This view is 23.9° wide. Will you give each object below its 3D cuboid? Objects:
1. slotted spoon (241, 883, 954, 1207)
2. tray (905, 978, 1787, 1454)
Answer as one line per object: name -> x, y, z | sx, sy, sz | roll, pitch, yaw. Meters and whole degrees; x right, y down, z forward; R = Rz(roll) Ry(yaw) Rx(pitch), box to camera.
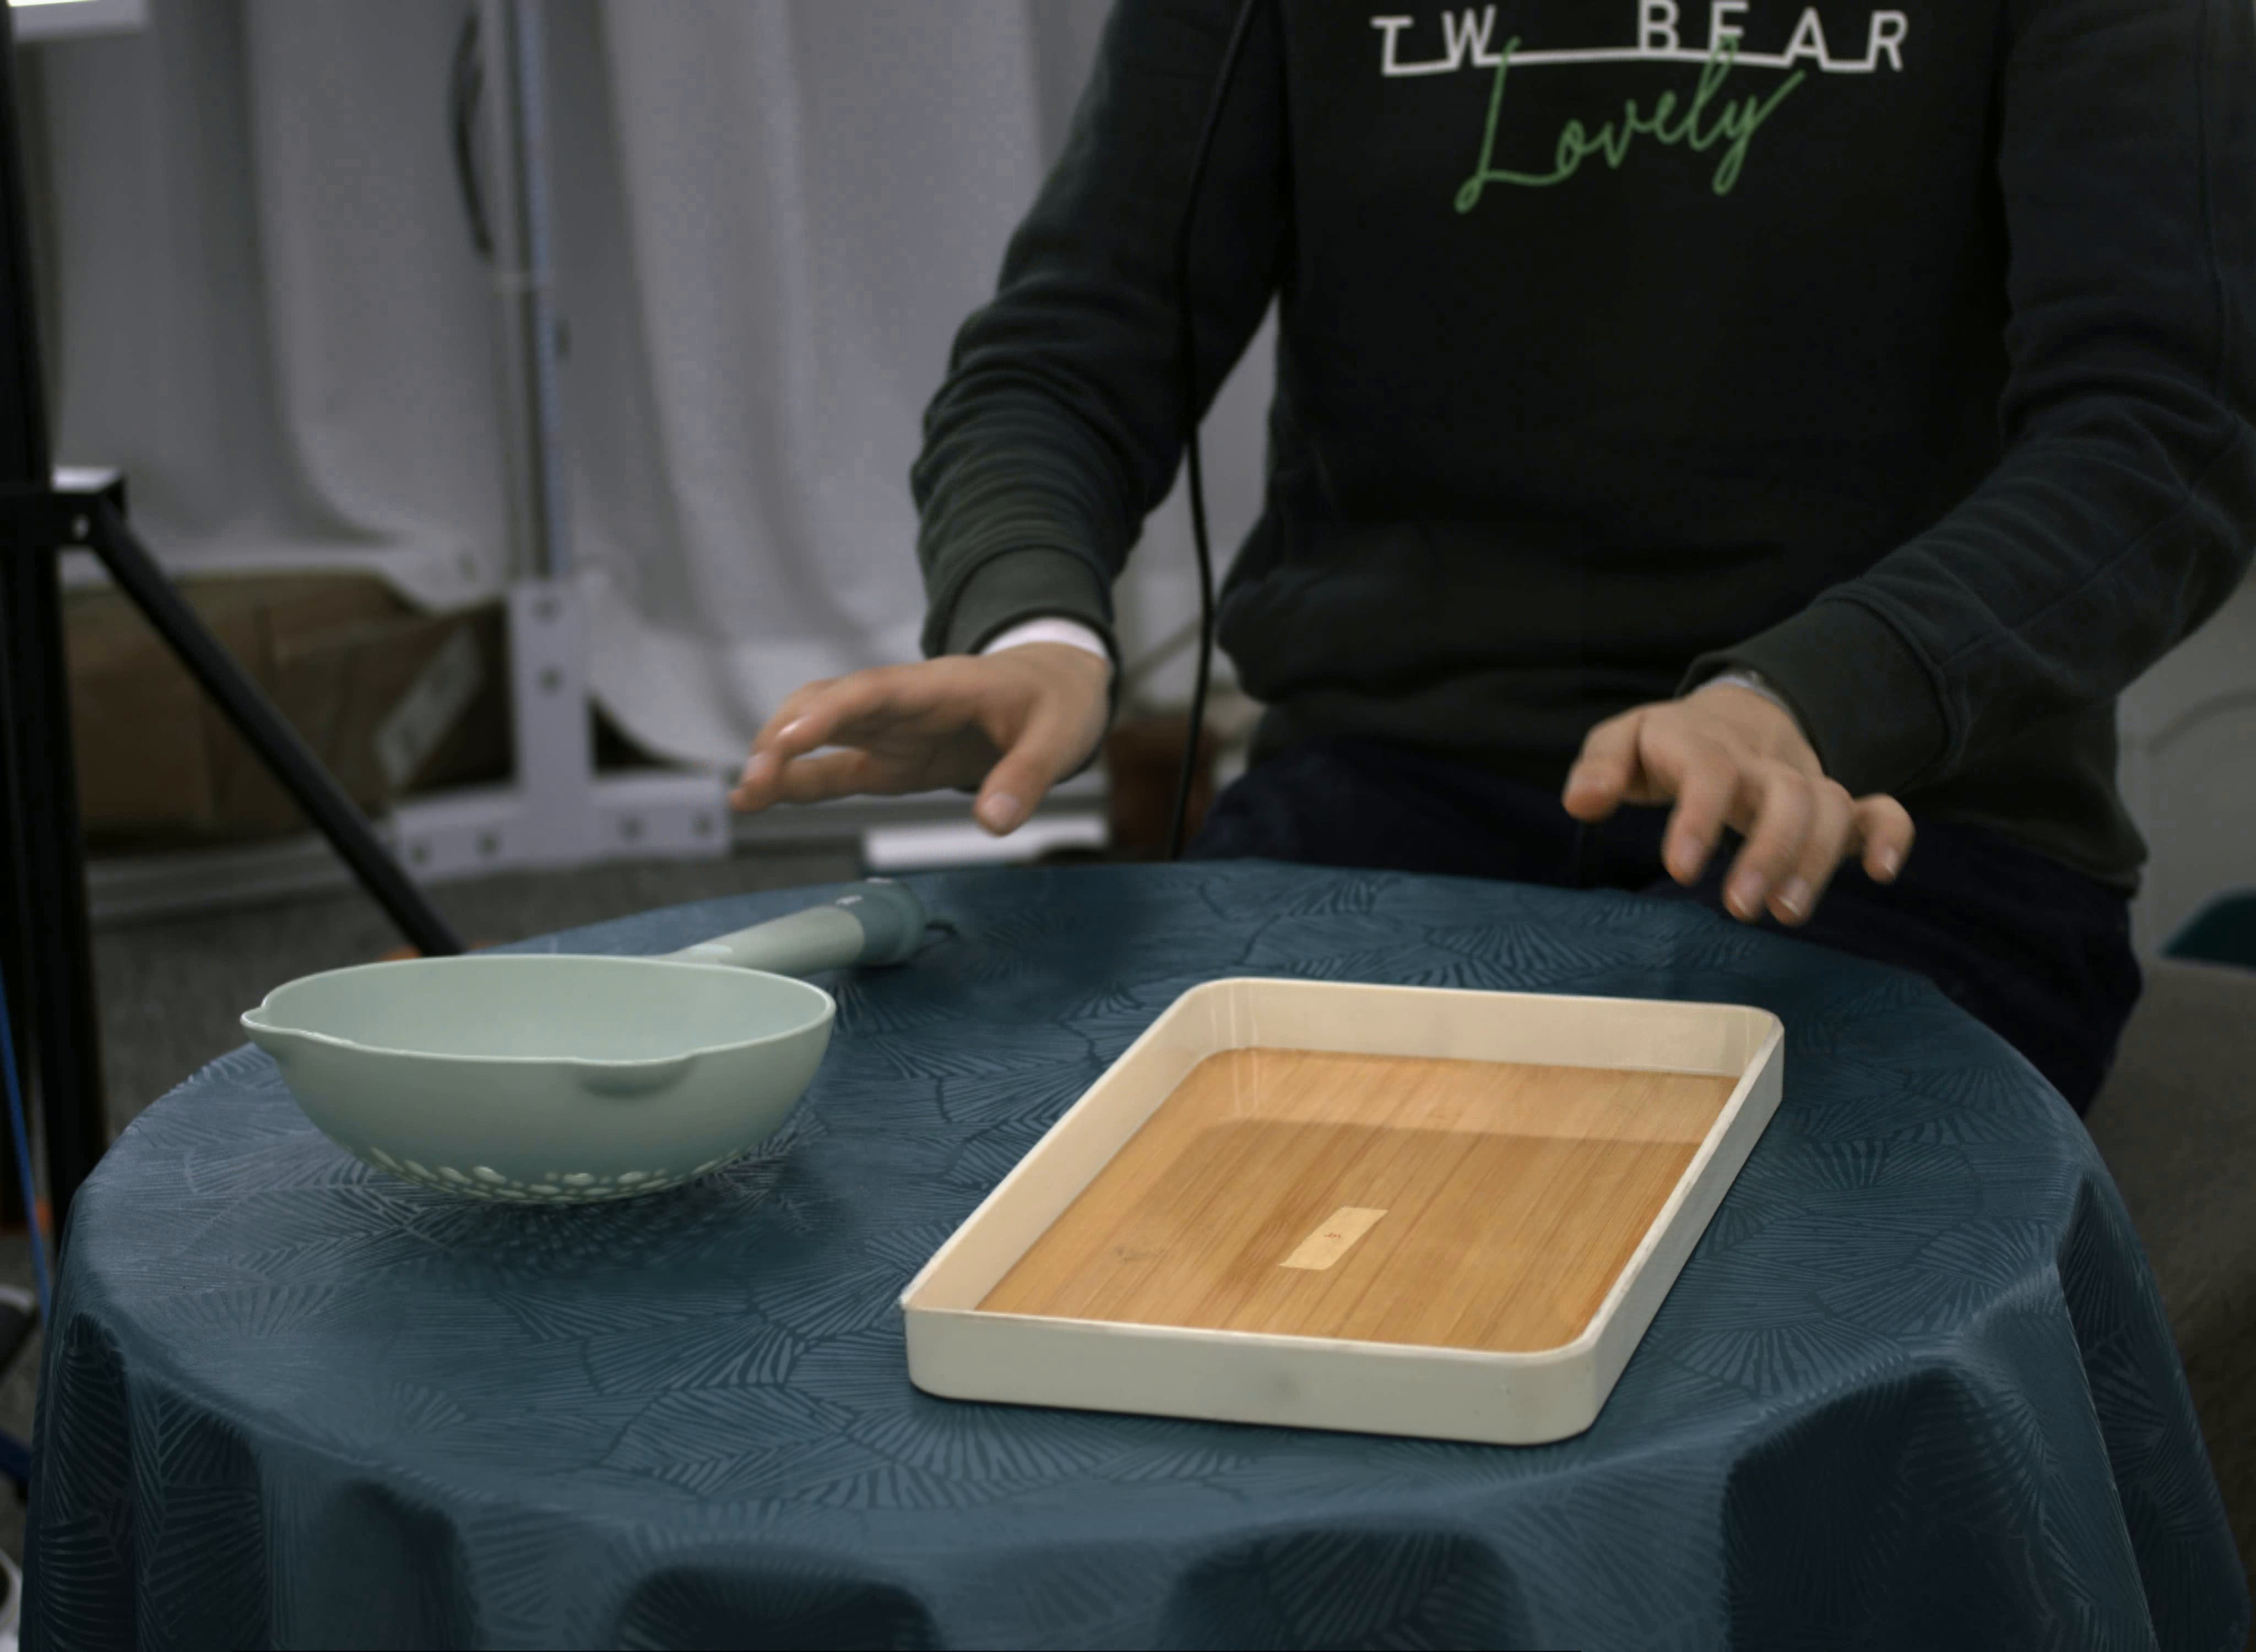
slotted spoon -> -0.134, 0.052, 1.660 | 0.171, 0.075, 0.354 | 5, 17, 22
tray -> 0.070, 0.105, 1.509 | 0.193, 0.027, 0.297 | 3, 17, 18
